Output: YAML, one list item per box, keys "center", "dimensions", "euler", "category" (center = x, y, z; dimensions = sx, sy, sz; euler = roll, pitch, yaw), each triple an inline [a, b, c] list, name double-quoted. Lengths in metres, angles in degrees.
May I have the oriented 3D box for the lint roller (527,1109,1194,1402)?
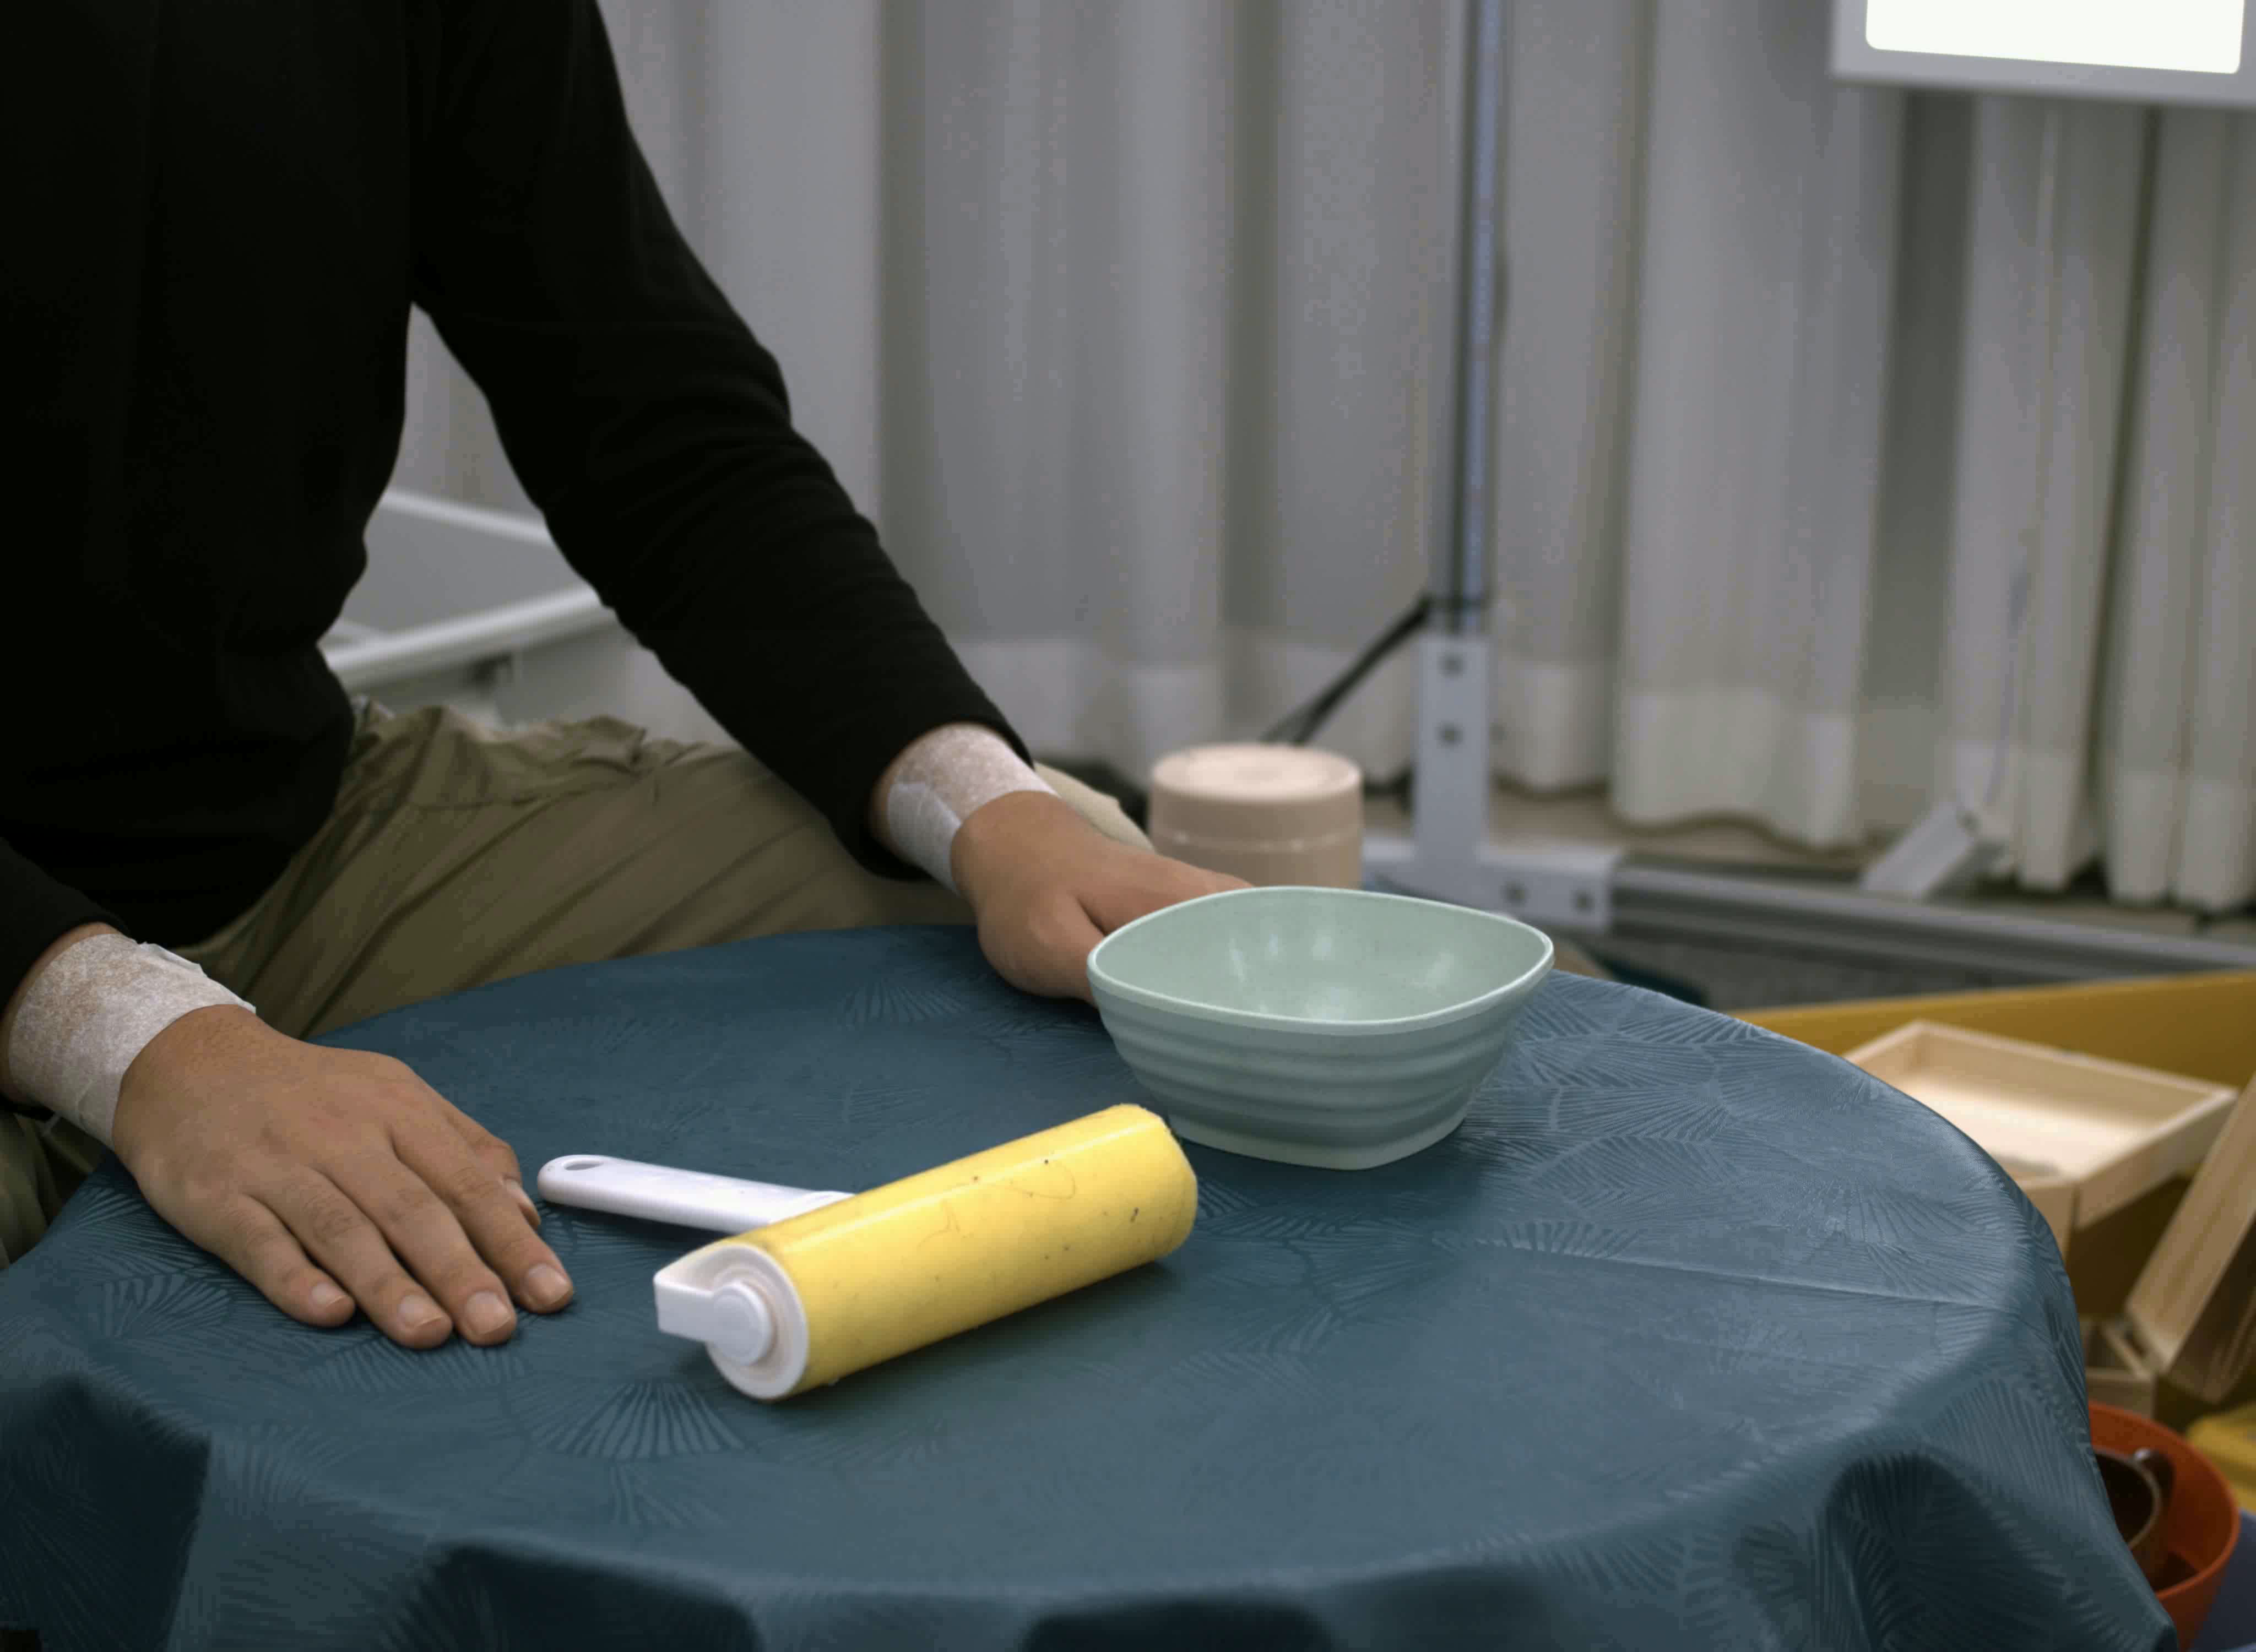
- center: [-0.105, 0.105, 1.543]
  dimensions: [0.189, 0.052, 0.175]
  euler: [18, 23, 36]
  category: "lint roller"

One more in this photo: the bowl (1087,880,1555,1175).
- center: [0.061, 0.067, 1.679]
  dimensions: [0.151, 0.059, 0.150]
  euler: [1, 17, 0]
  category: "bowl"
